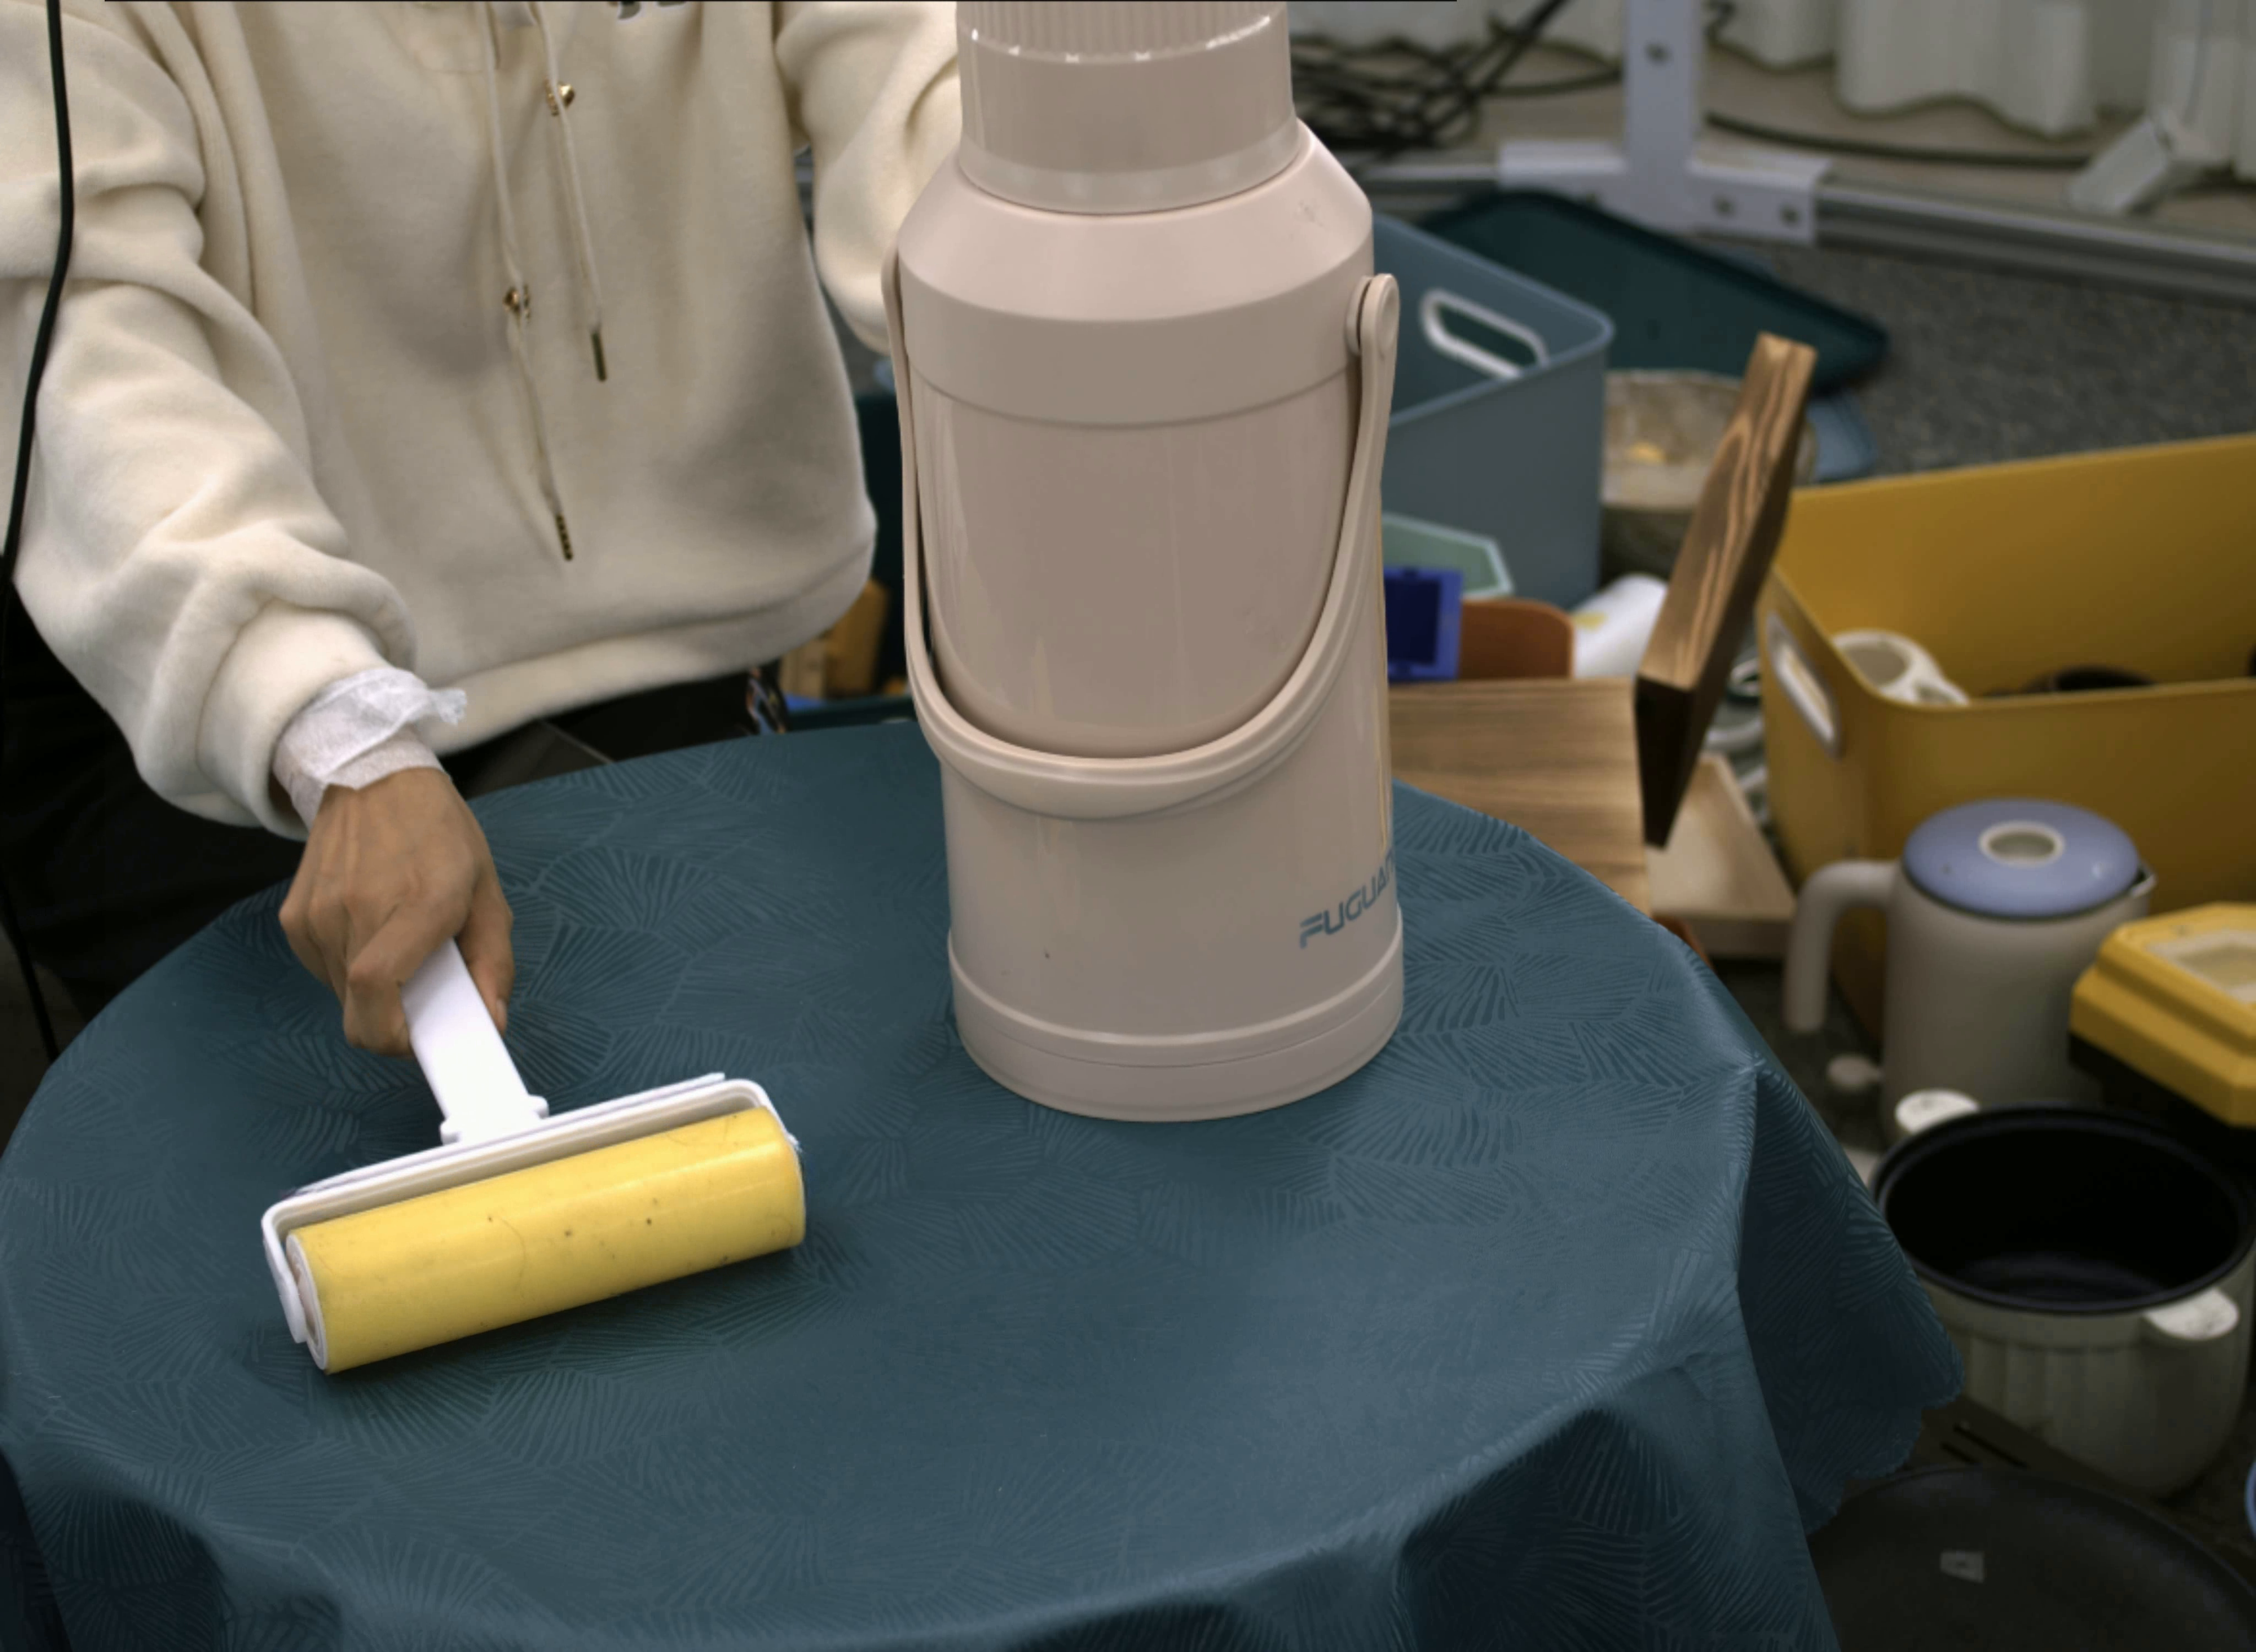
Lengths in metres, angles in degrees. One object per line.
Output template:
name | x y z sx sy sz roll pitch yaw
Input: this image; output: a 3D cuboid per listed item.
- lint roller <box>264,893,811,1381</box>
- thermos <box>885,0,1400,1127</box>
lint roller | -0.214 0.084 1.846 0.175 0.050 0.194 -14 53 -19
thermos | 0.014 -0.116 1.894 0.174 0.402 0.210 7 28 20
